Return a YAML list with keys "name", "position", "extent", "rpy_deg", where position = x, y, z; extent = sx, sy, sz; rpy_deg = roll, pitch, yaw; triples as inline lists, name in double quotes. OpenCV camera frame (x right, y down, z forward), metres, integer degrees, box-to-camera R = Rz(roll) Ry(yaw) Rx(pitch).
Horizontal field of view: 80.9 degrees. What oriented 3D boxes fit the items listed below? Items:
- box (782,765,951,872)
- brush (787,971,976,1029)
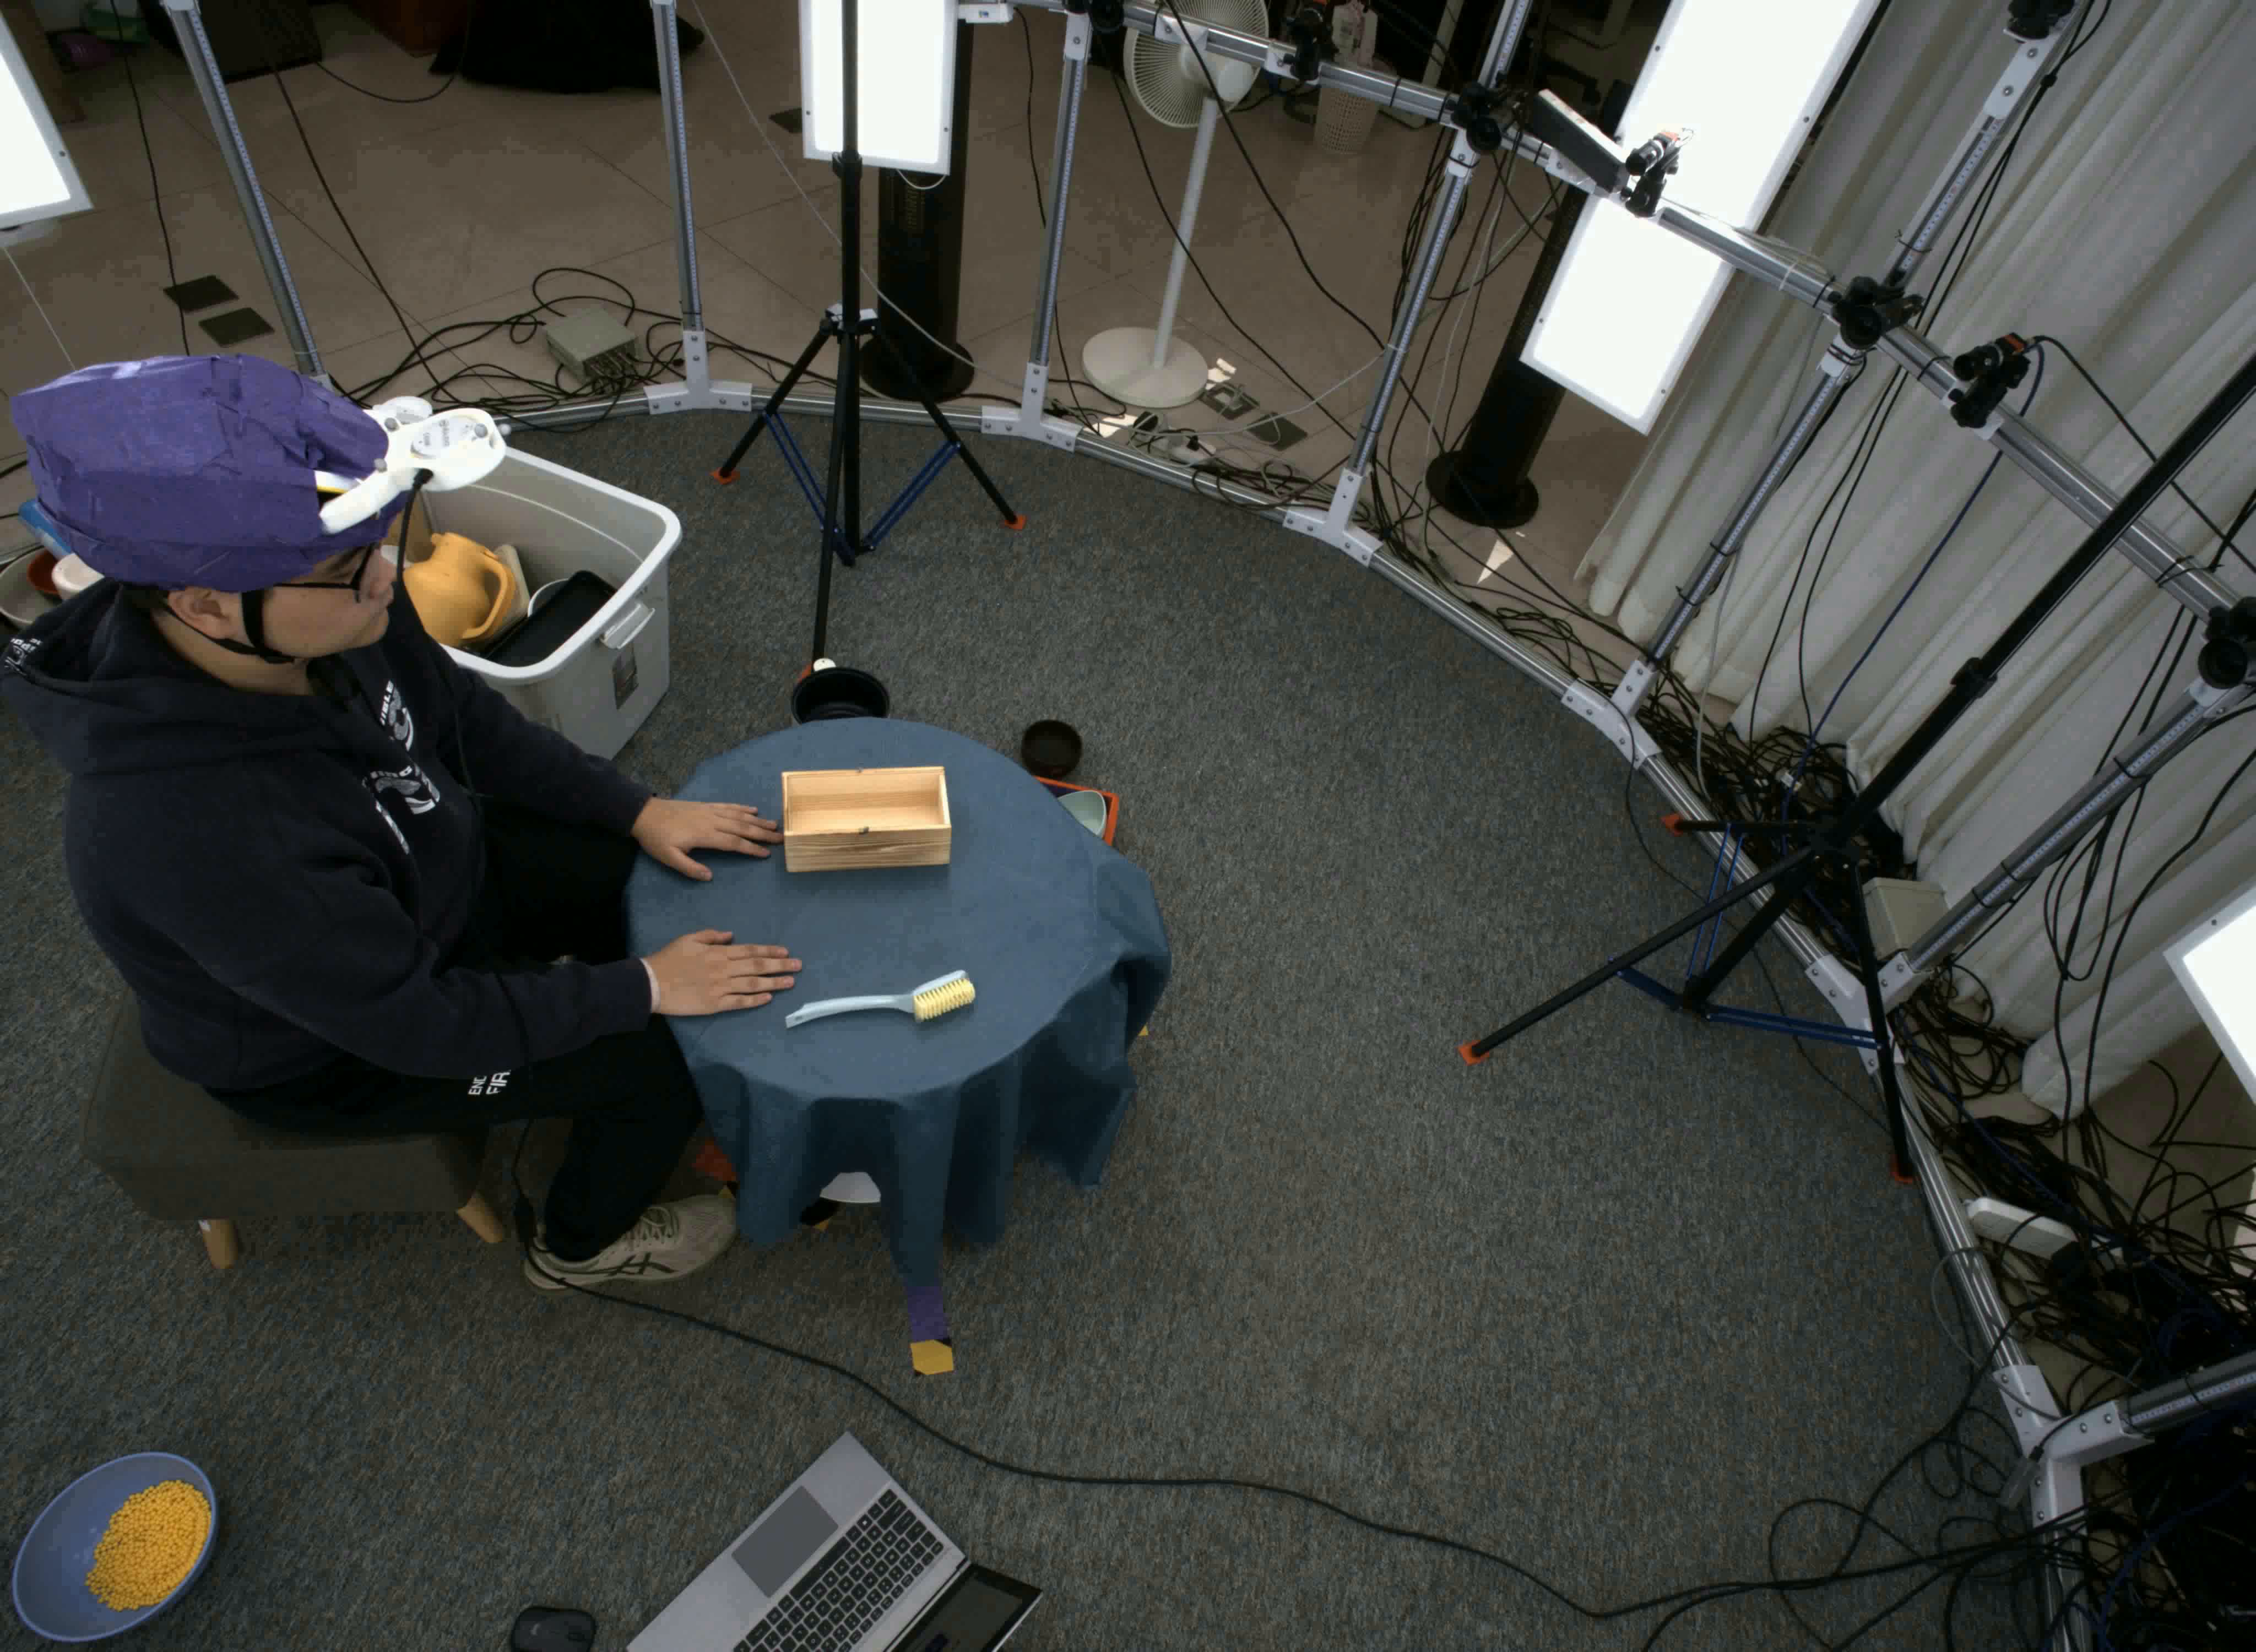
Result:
- name: "box"
  position: [-0.342, -0.012, 1.697]
  extent: [0.212, 0.082, 0.105]
  rpy_deg: [-3, 54, -16]
- name: "brush"
  position: [-0.295, 0.216, 1.566]
  extent: [0.230, 0.039, 0.048]
  rpy_deg: [-8, 48, -20]
